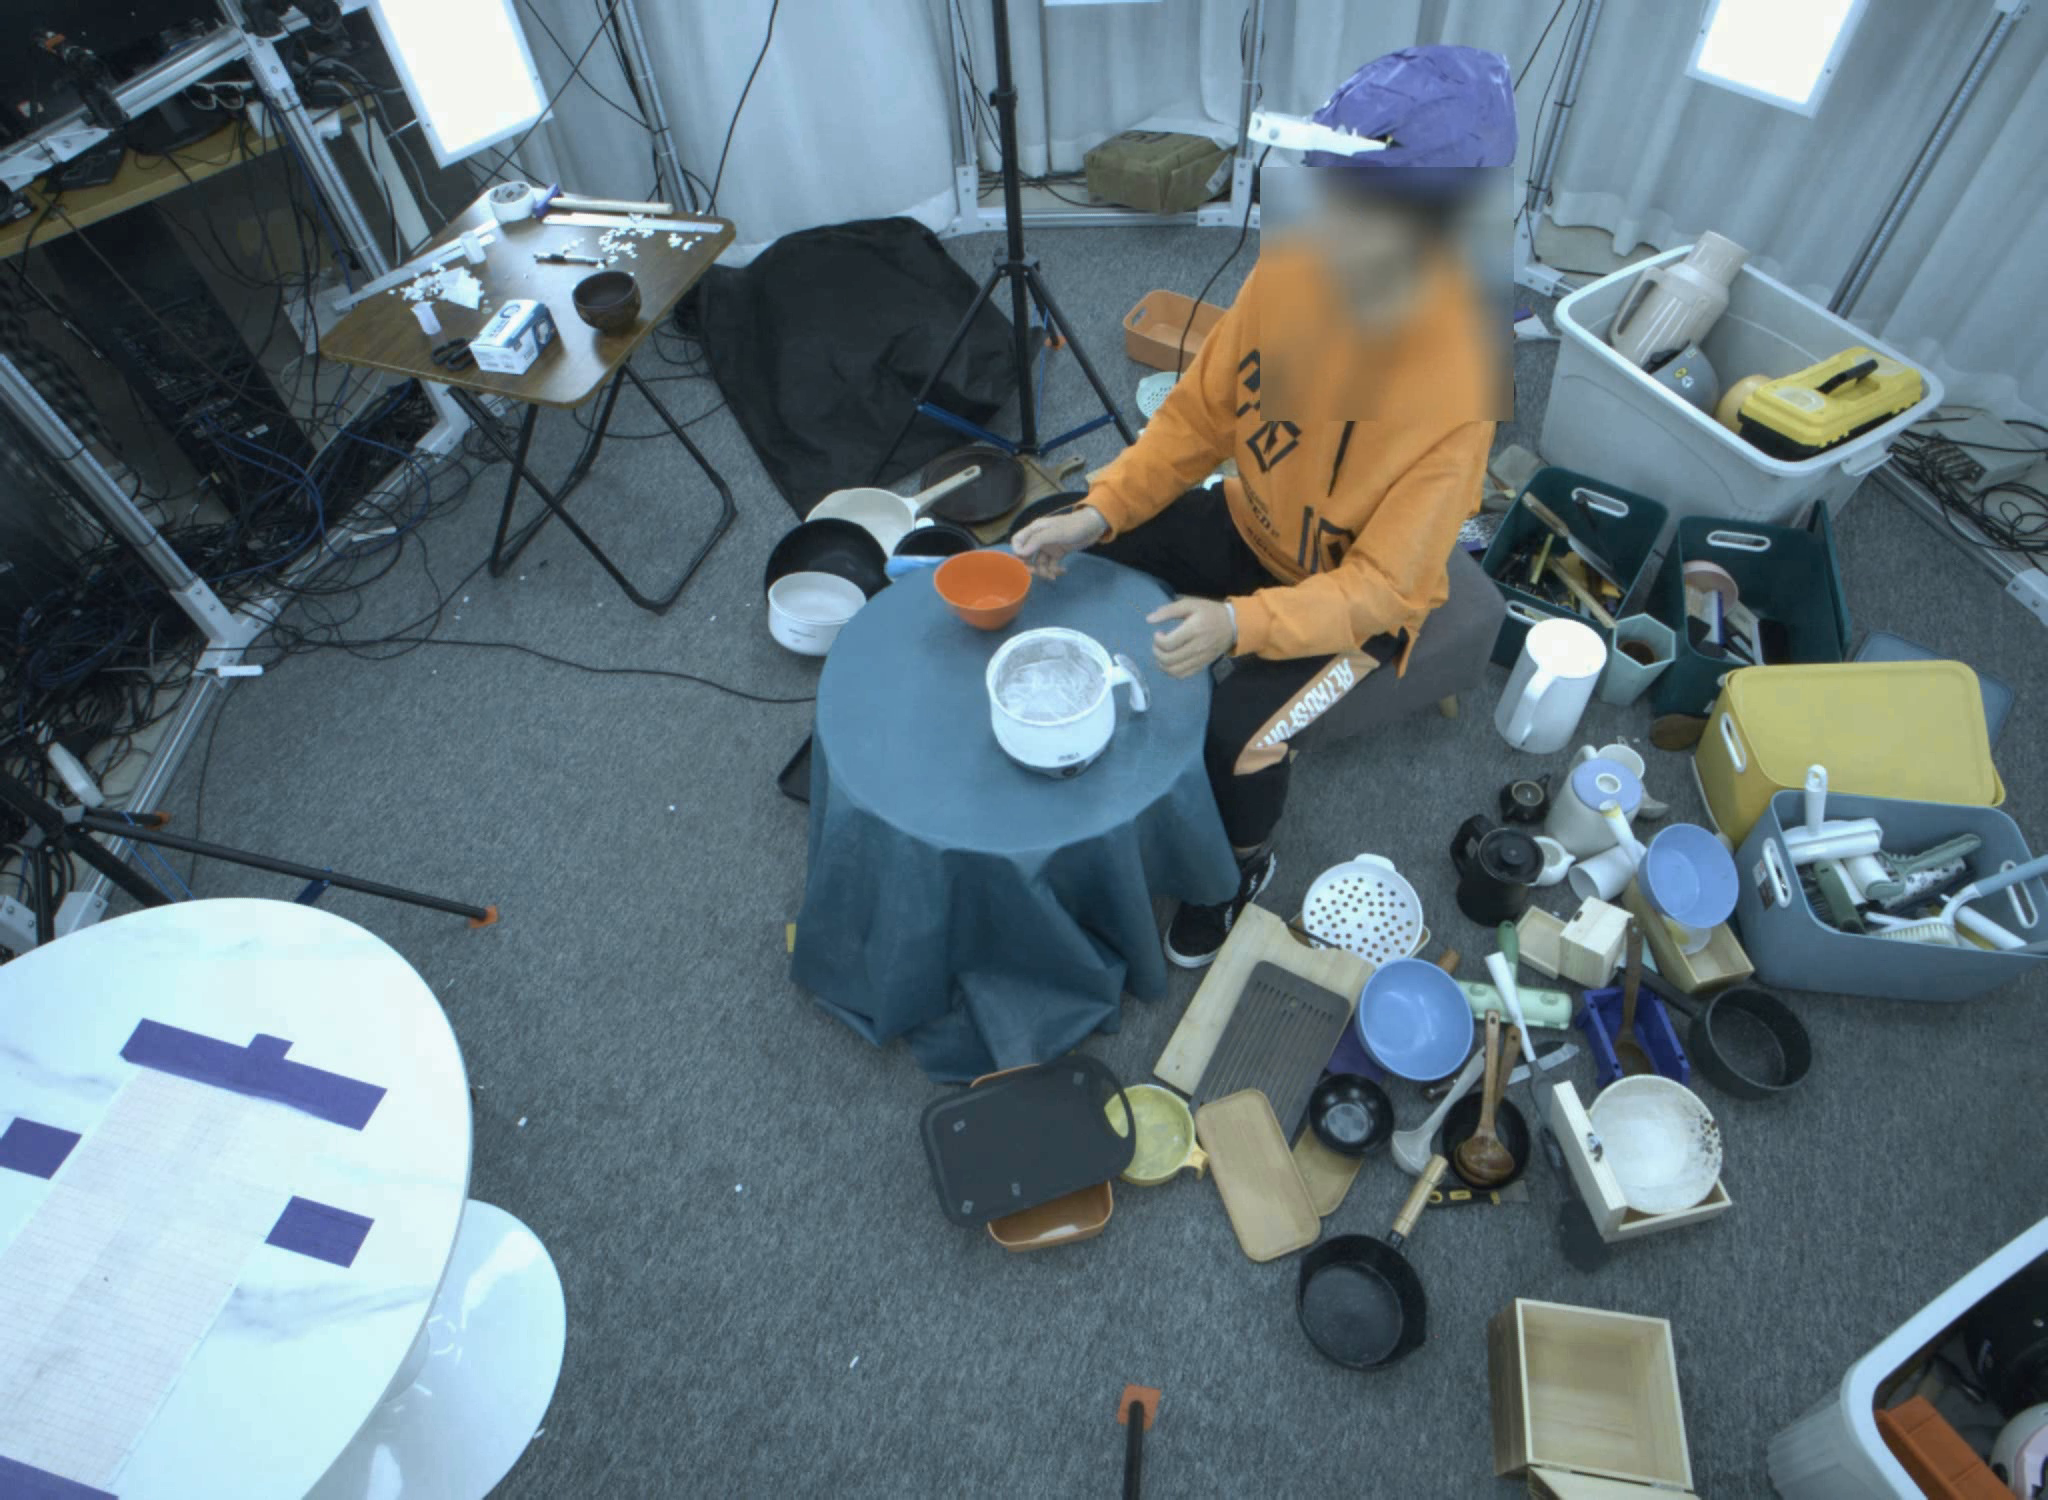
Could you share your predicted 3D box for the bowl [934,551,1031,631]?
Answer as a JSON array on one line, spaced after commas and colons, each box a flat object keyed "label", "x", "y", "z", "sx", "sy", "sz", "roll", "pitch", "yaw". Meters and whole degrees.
[{"label": "bowl", "x": -0.062, "y": -0.235, "z": 1.897, "sx": 0.148, "sy": 0.106, "sz": 0.146, "roll": 0, "pitch": 53, "yaw": 2}]

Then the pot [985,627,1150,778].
[{"label": "pot", "x": 0.065, "y": -0.073, "z": 1.752, "sx": 0.235, "sy": 0.138, "sz": 0.176, "roll": -15, "pitch": 56, "yaw": -7}]
